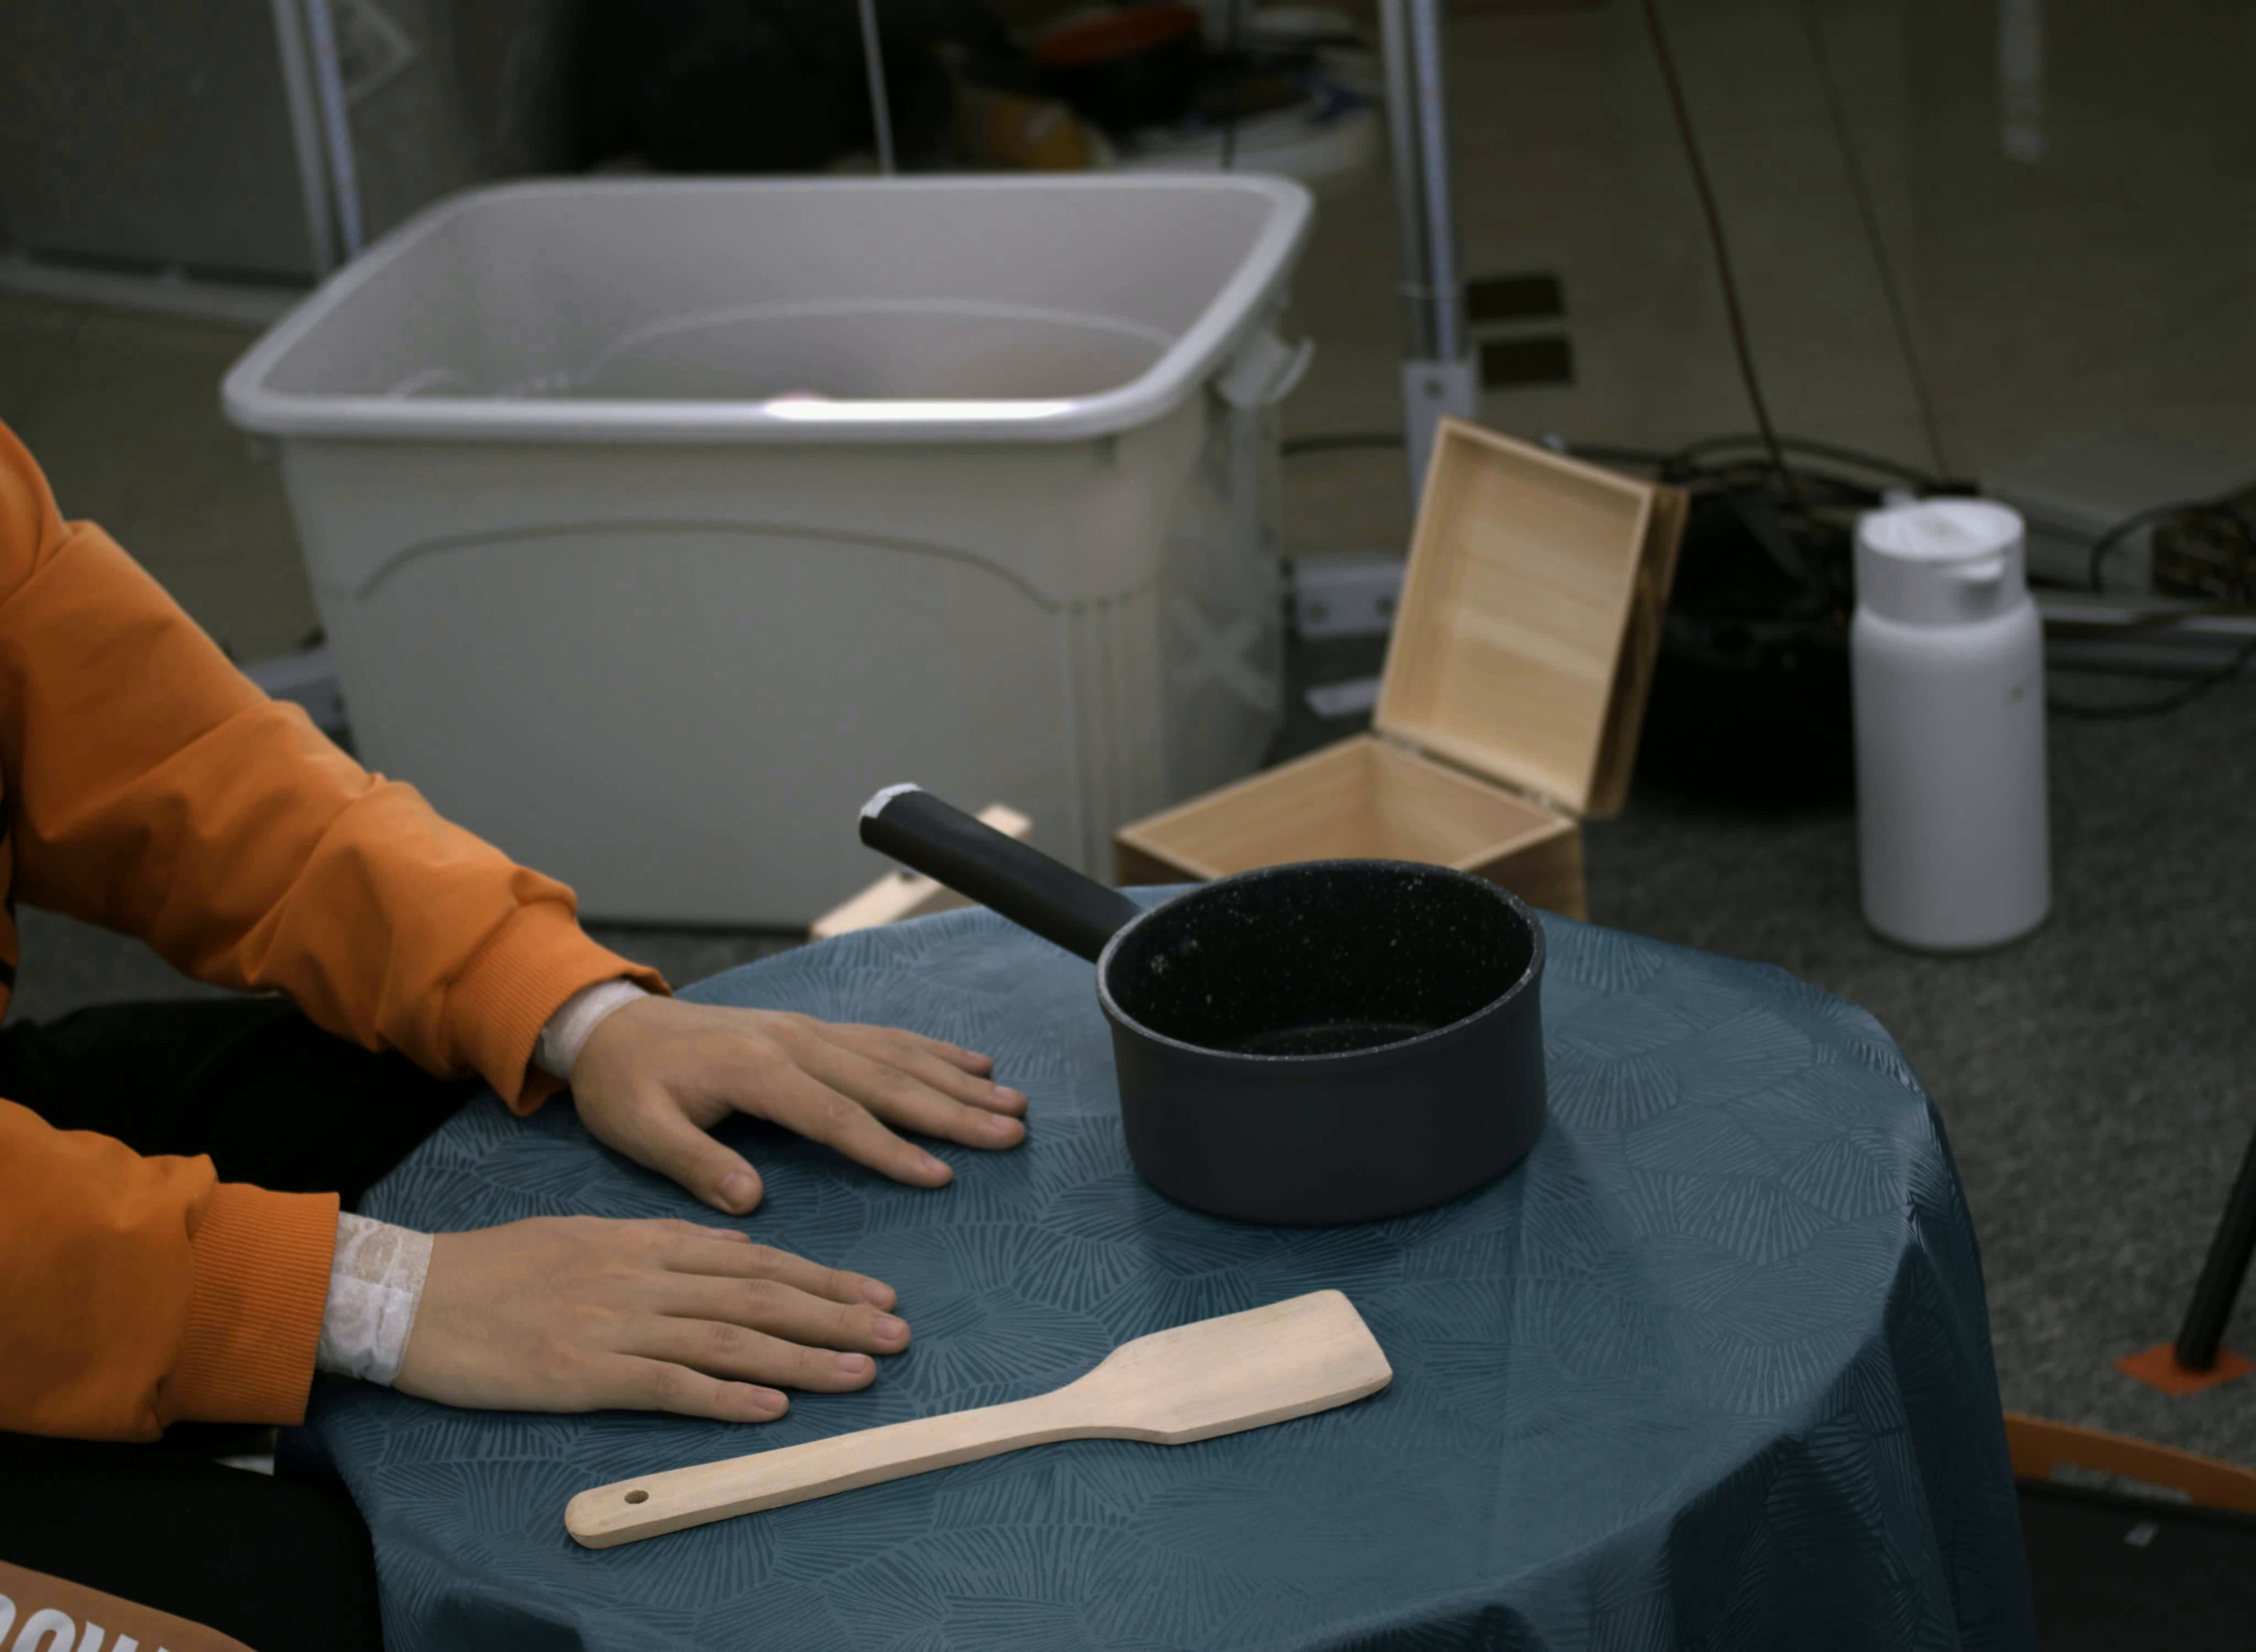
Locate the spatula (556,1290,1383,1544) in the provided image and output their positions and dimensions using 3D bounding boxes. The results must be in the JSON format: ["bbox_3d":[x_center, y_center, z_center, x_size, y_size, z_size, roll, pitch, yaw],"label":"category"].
[{"bbox_3d":[-0.057,0.213,1.992,0.292,0.011,0.071,-12,29,-11],"label":"spatula"}]

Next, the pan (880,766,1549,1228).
[{"bbox_3d":[0.021,0.060,2.210,0.170,0.088,0.326,-26,33,-36],"label":"pan"}]
